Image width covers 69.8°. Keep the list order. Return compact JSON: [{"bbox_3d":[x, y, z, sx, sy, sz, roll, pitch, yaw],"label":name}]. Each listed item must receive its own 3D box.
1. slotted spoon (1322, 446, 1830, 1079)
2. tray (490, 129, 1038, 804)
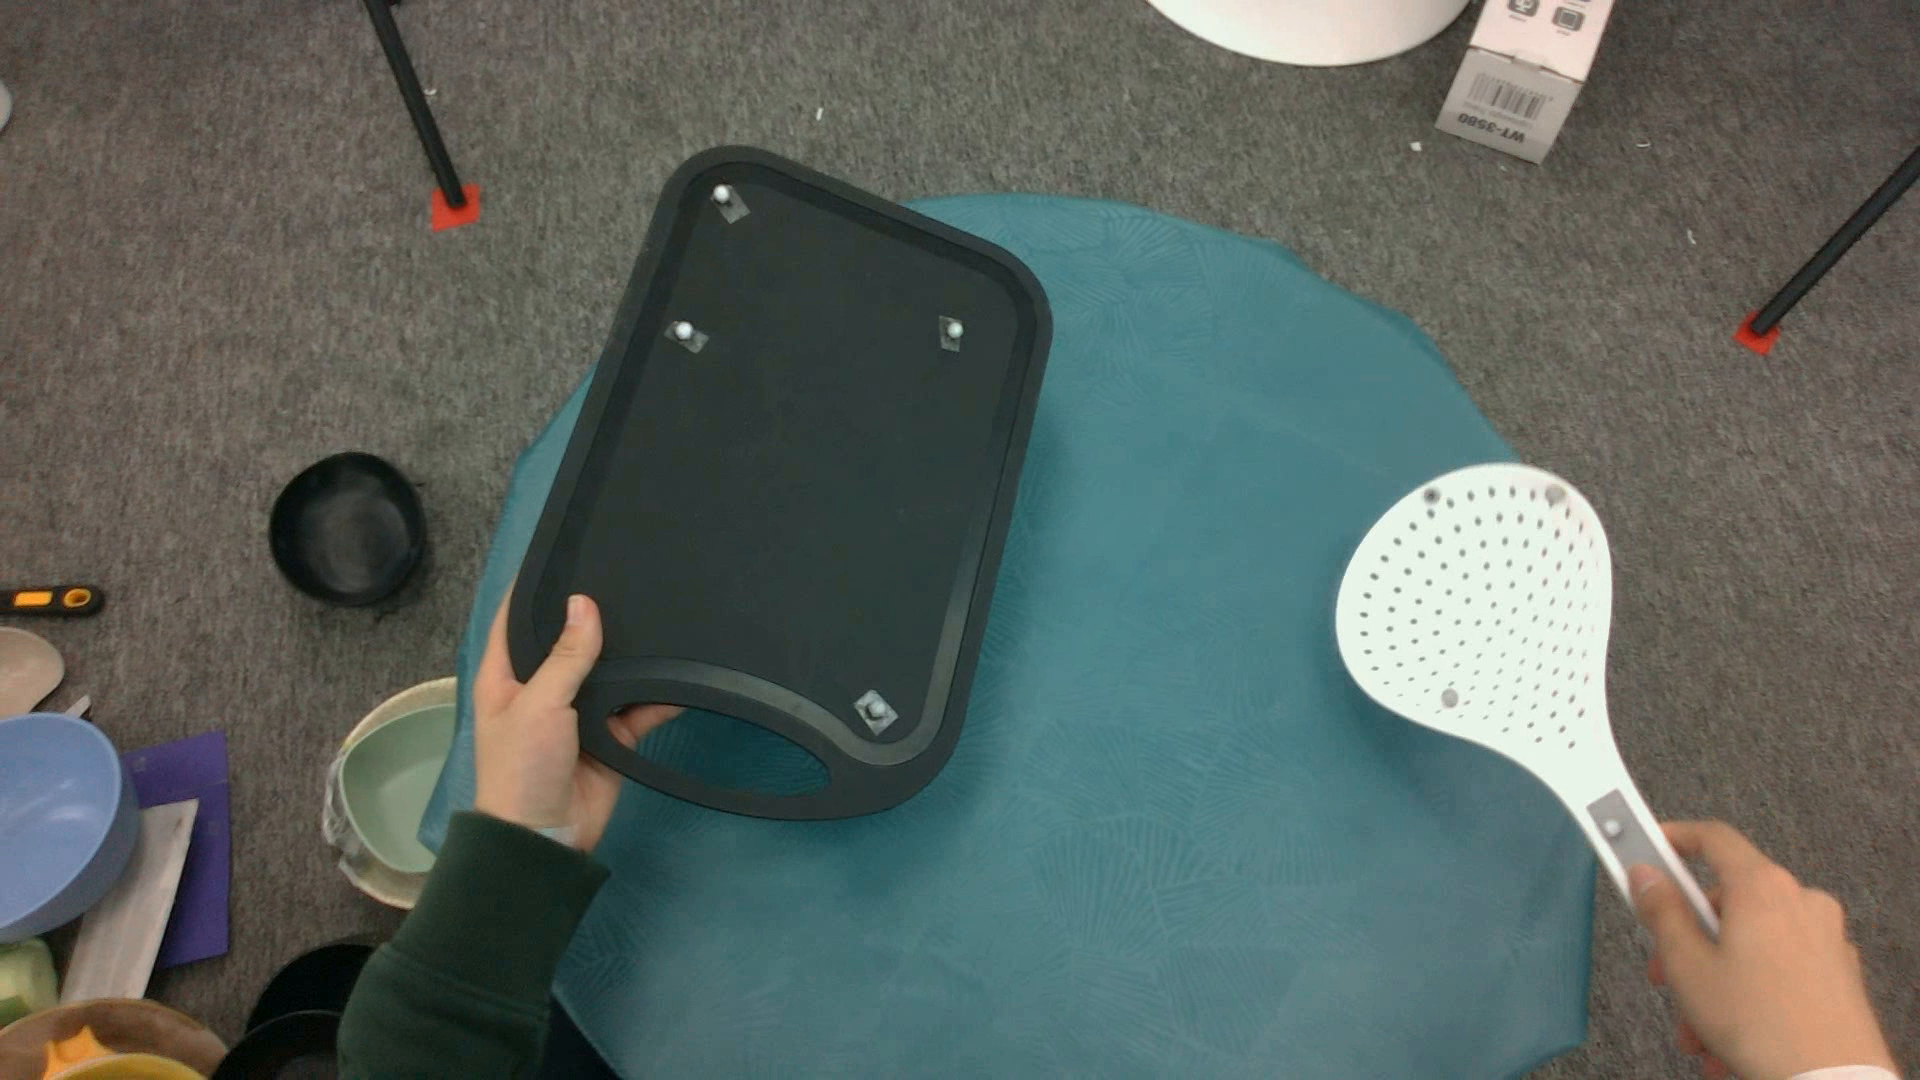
[{"bbox_3d":[0.270,0.091,0.613,0.135,0.046,0.351,-40,36,21],"label":"slotted spoon"},{"bbox_3d":[-0.082,-0.040,0.652,0.211,0.010,0.326,19,68,-13],"label":"tray"}]
